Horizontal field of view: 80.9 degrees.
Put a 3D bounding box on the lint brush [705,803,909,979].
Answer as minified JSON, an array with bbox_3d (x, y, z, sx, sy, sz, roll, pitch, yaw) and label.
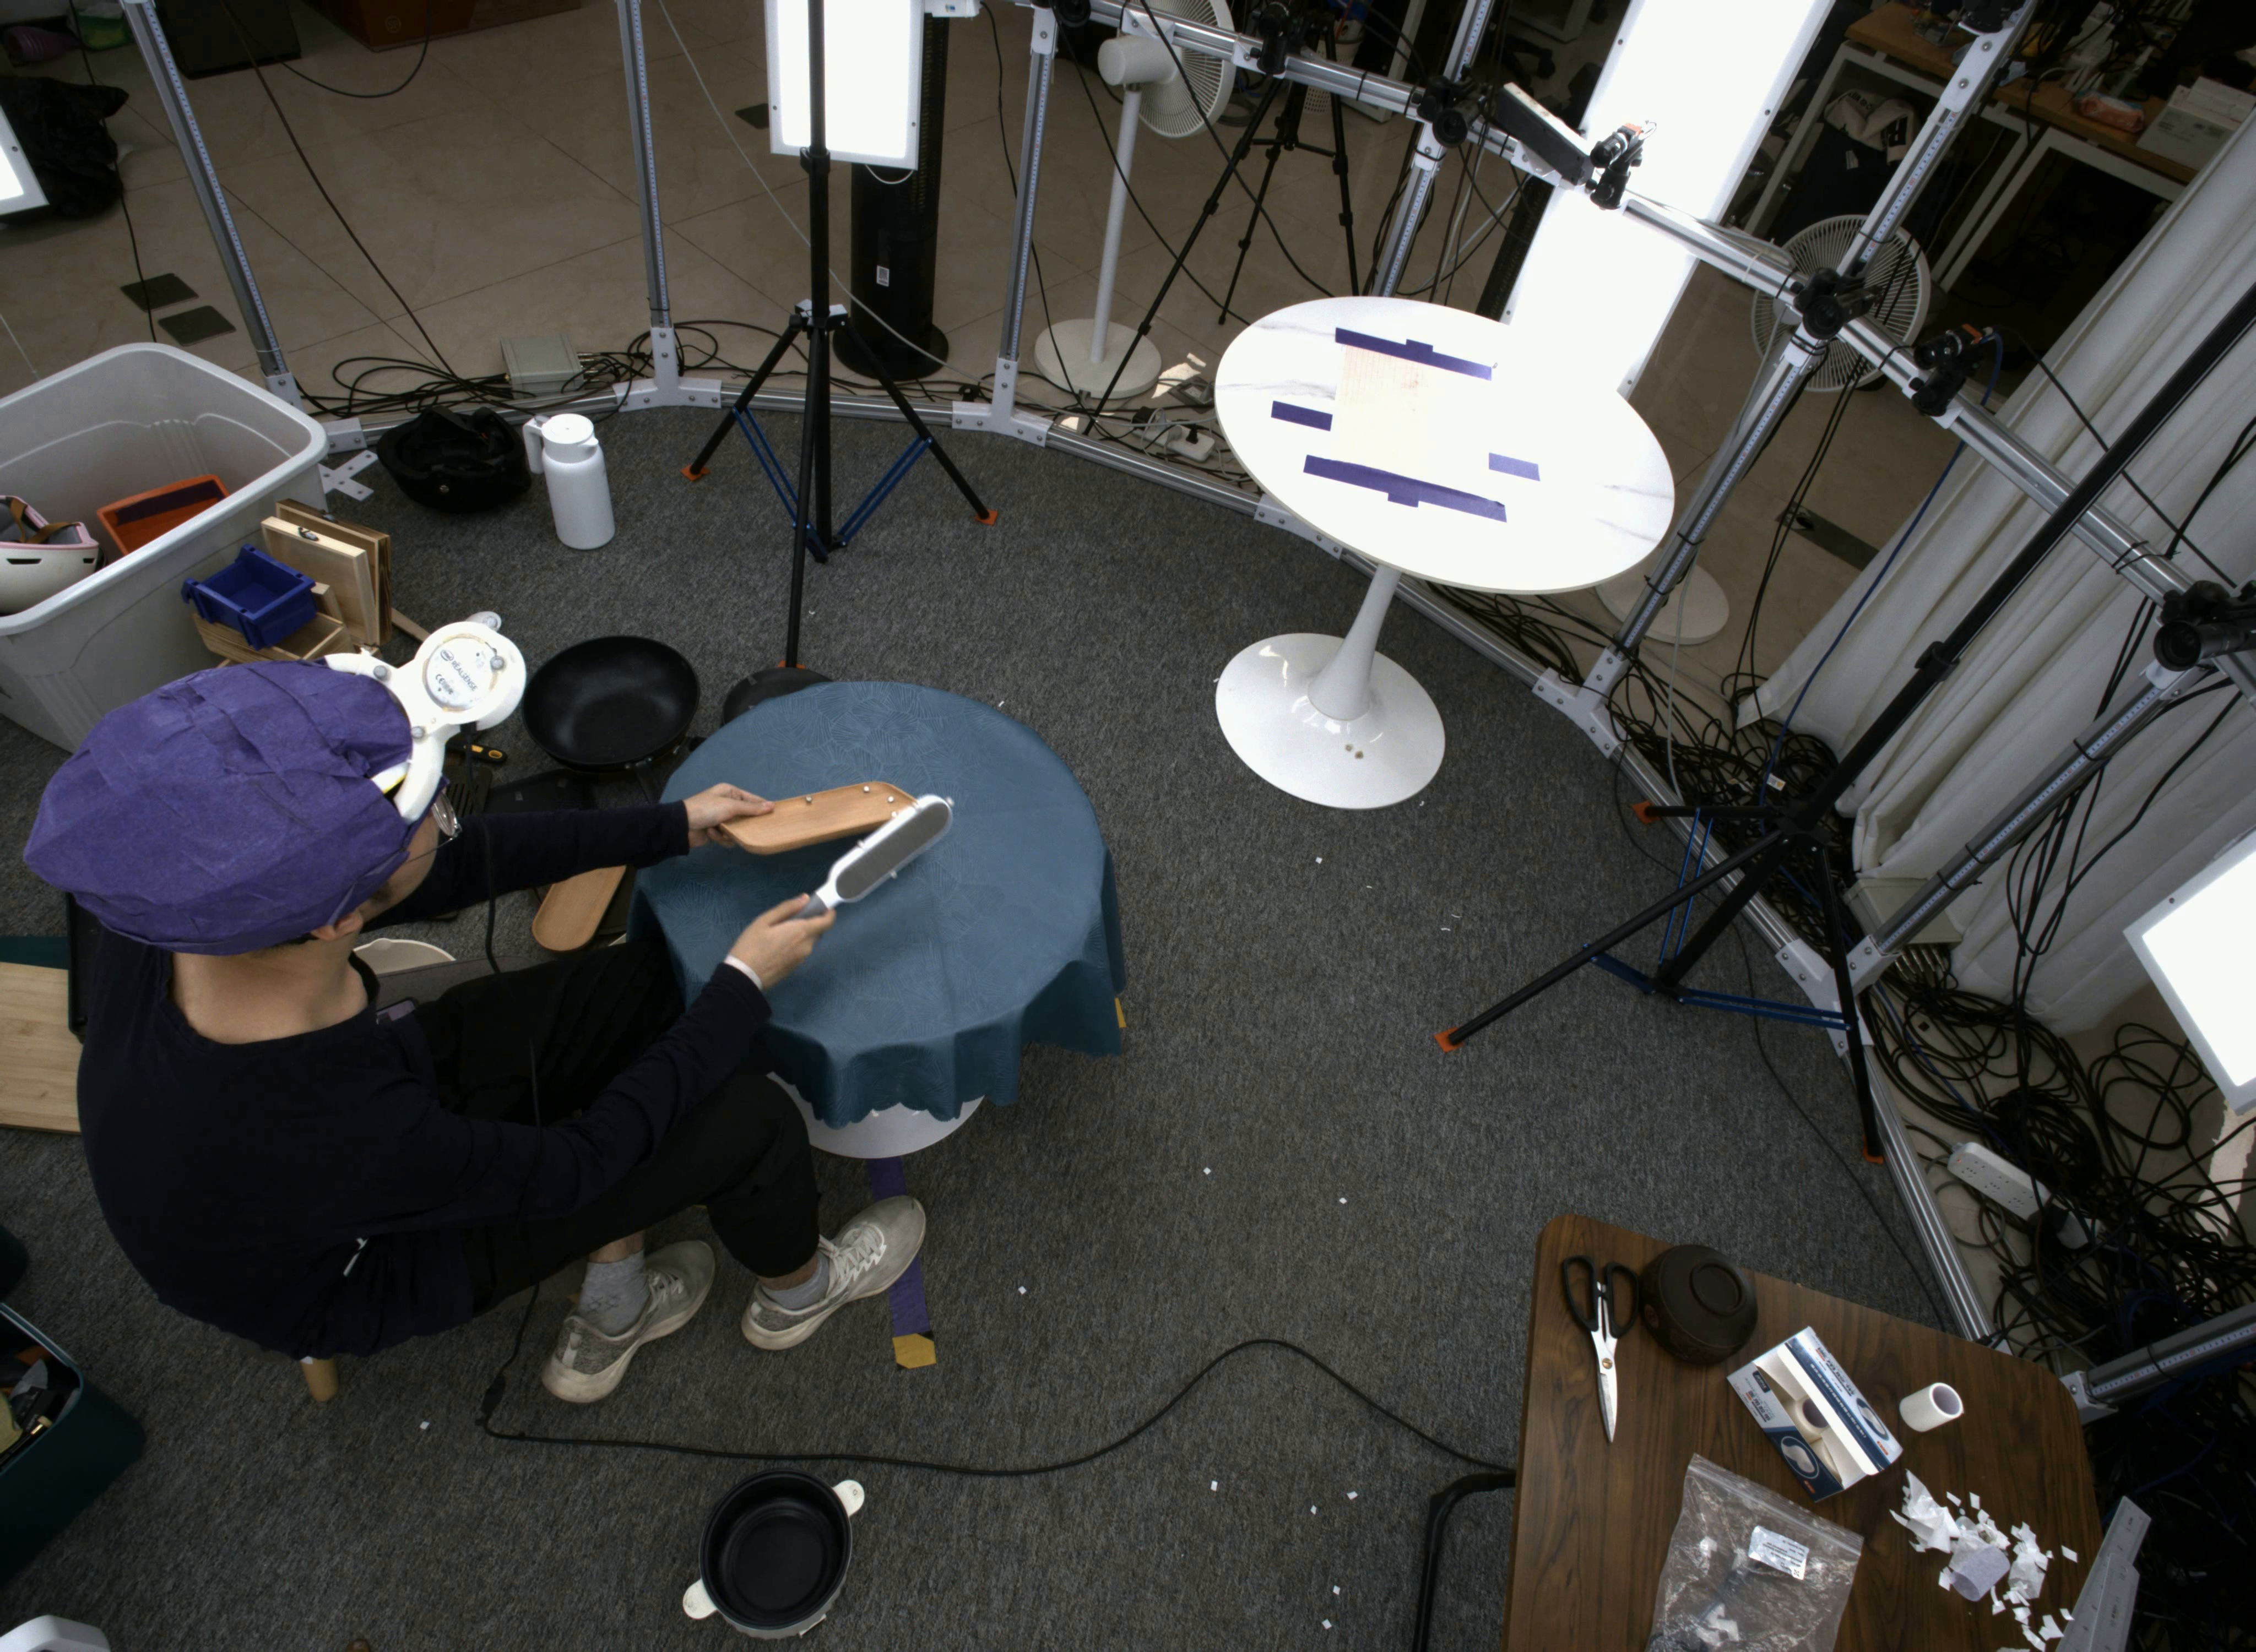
[{"bbox_3d":[-0.384,0.074,1.560,0.020,0.062,0.309,31,61,35],"label":"lint brush"}]

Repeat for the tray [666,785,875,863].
[{"bbox_3d":[-0.454,-0.006,1.650,0.253,0.023,0.125,-16,29,-39],"label":"tray"}]
